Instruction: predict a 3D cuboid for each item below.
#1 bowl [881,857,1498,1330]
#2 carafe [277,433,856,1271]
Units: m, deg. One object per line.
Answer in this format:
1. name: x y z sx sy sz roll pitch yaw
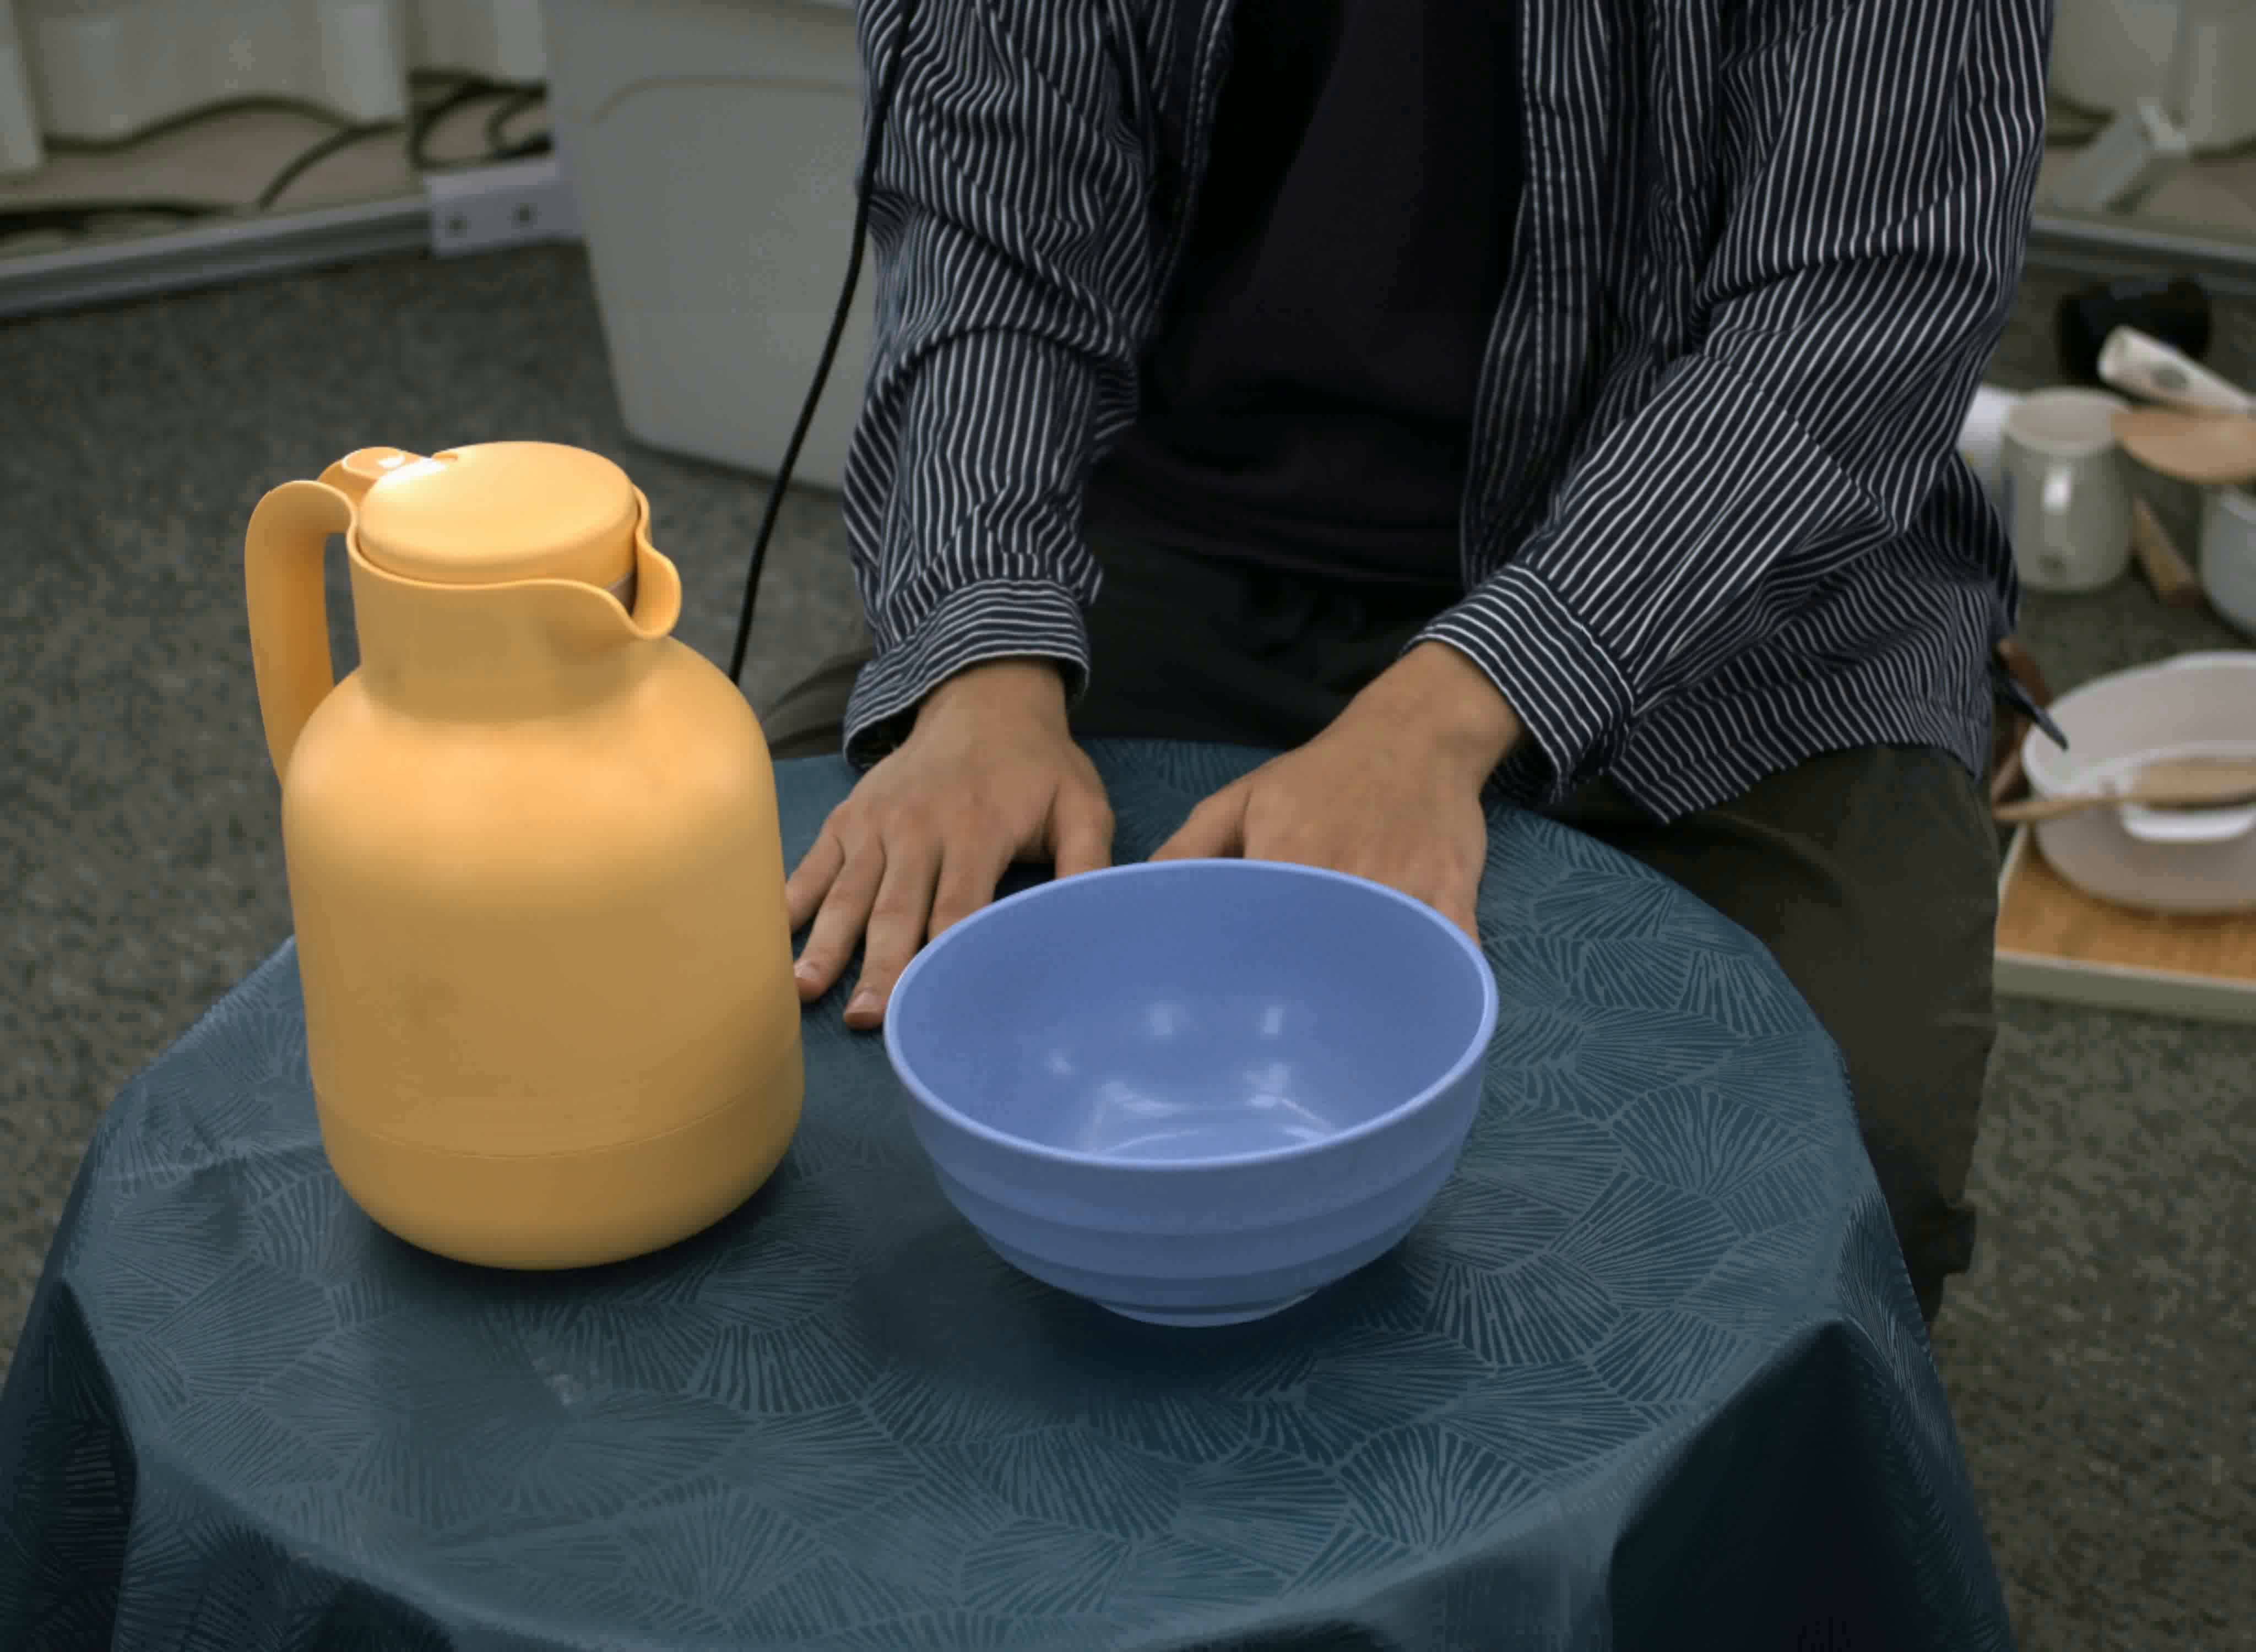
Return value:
1. bowl: 0.022 0.097 1.800 0.195 0.094 0.199 -2 27 2
2. carafe: -0.191 -0.001 1.835 0.202 0.258 0.165 19 34 38
